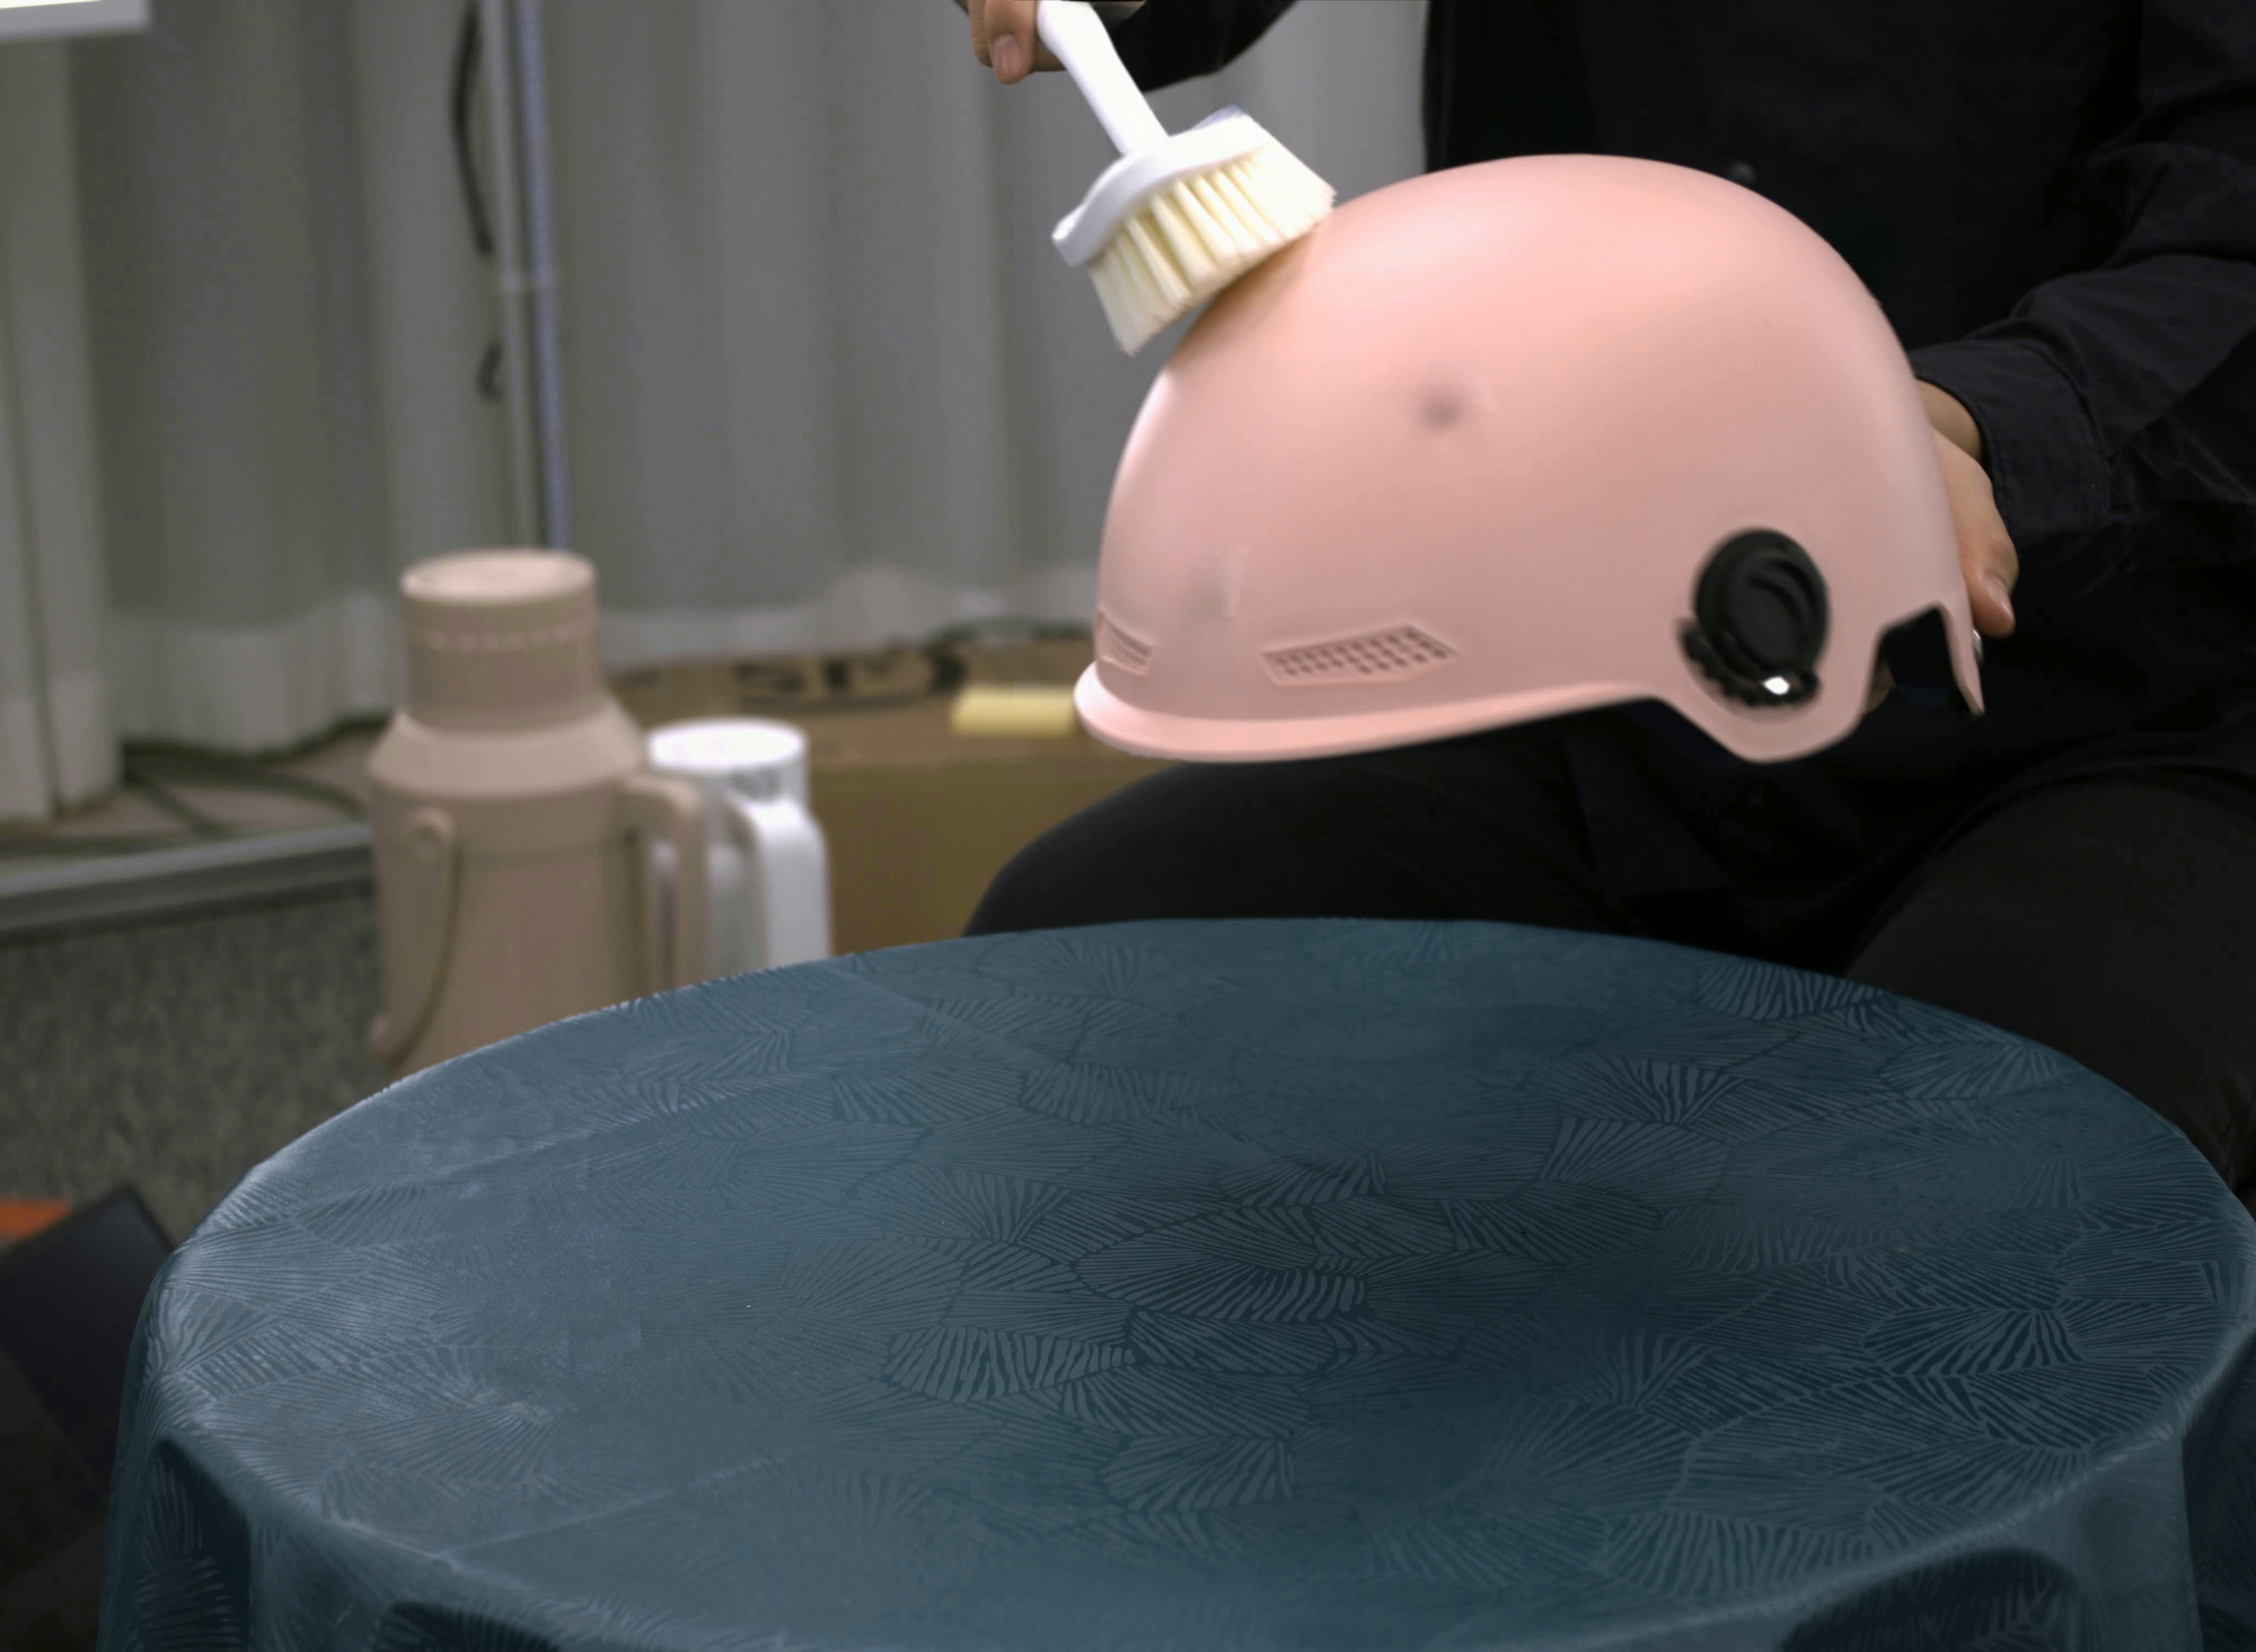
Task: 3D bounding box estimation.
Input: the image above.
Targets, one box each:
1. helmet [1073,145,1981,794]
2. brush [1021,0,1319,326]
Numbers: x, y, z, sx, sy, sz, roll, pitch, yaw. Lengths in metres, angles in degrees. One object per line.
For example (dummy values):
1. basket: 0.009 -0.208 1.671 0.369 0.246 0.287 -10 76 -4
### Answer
1. helmet: 0.103 -0.101 1.445 0.260 0.159 0.239 -14 13 -41
2. brush: 0.009 -0.205 1.552 0.082 0.084 0.328 2 20 -6
